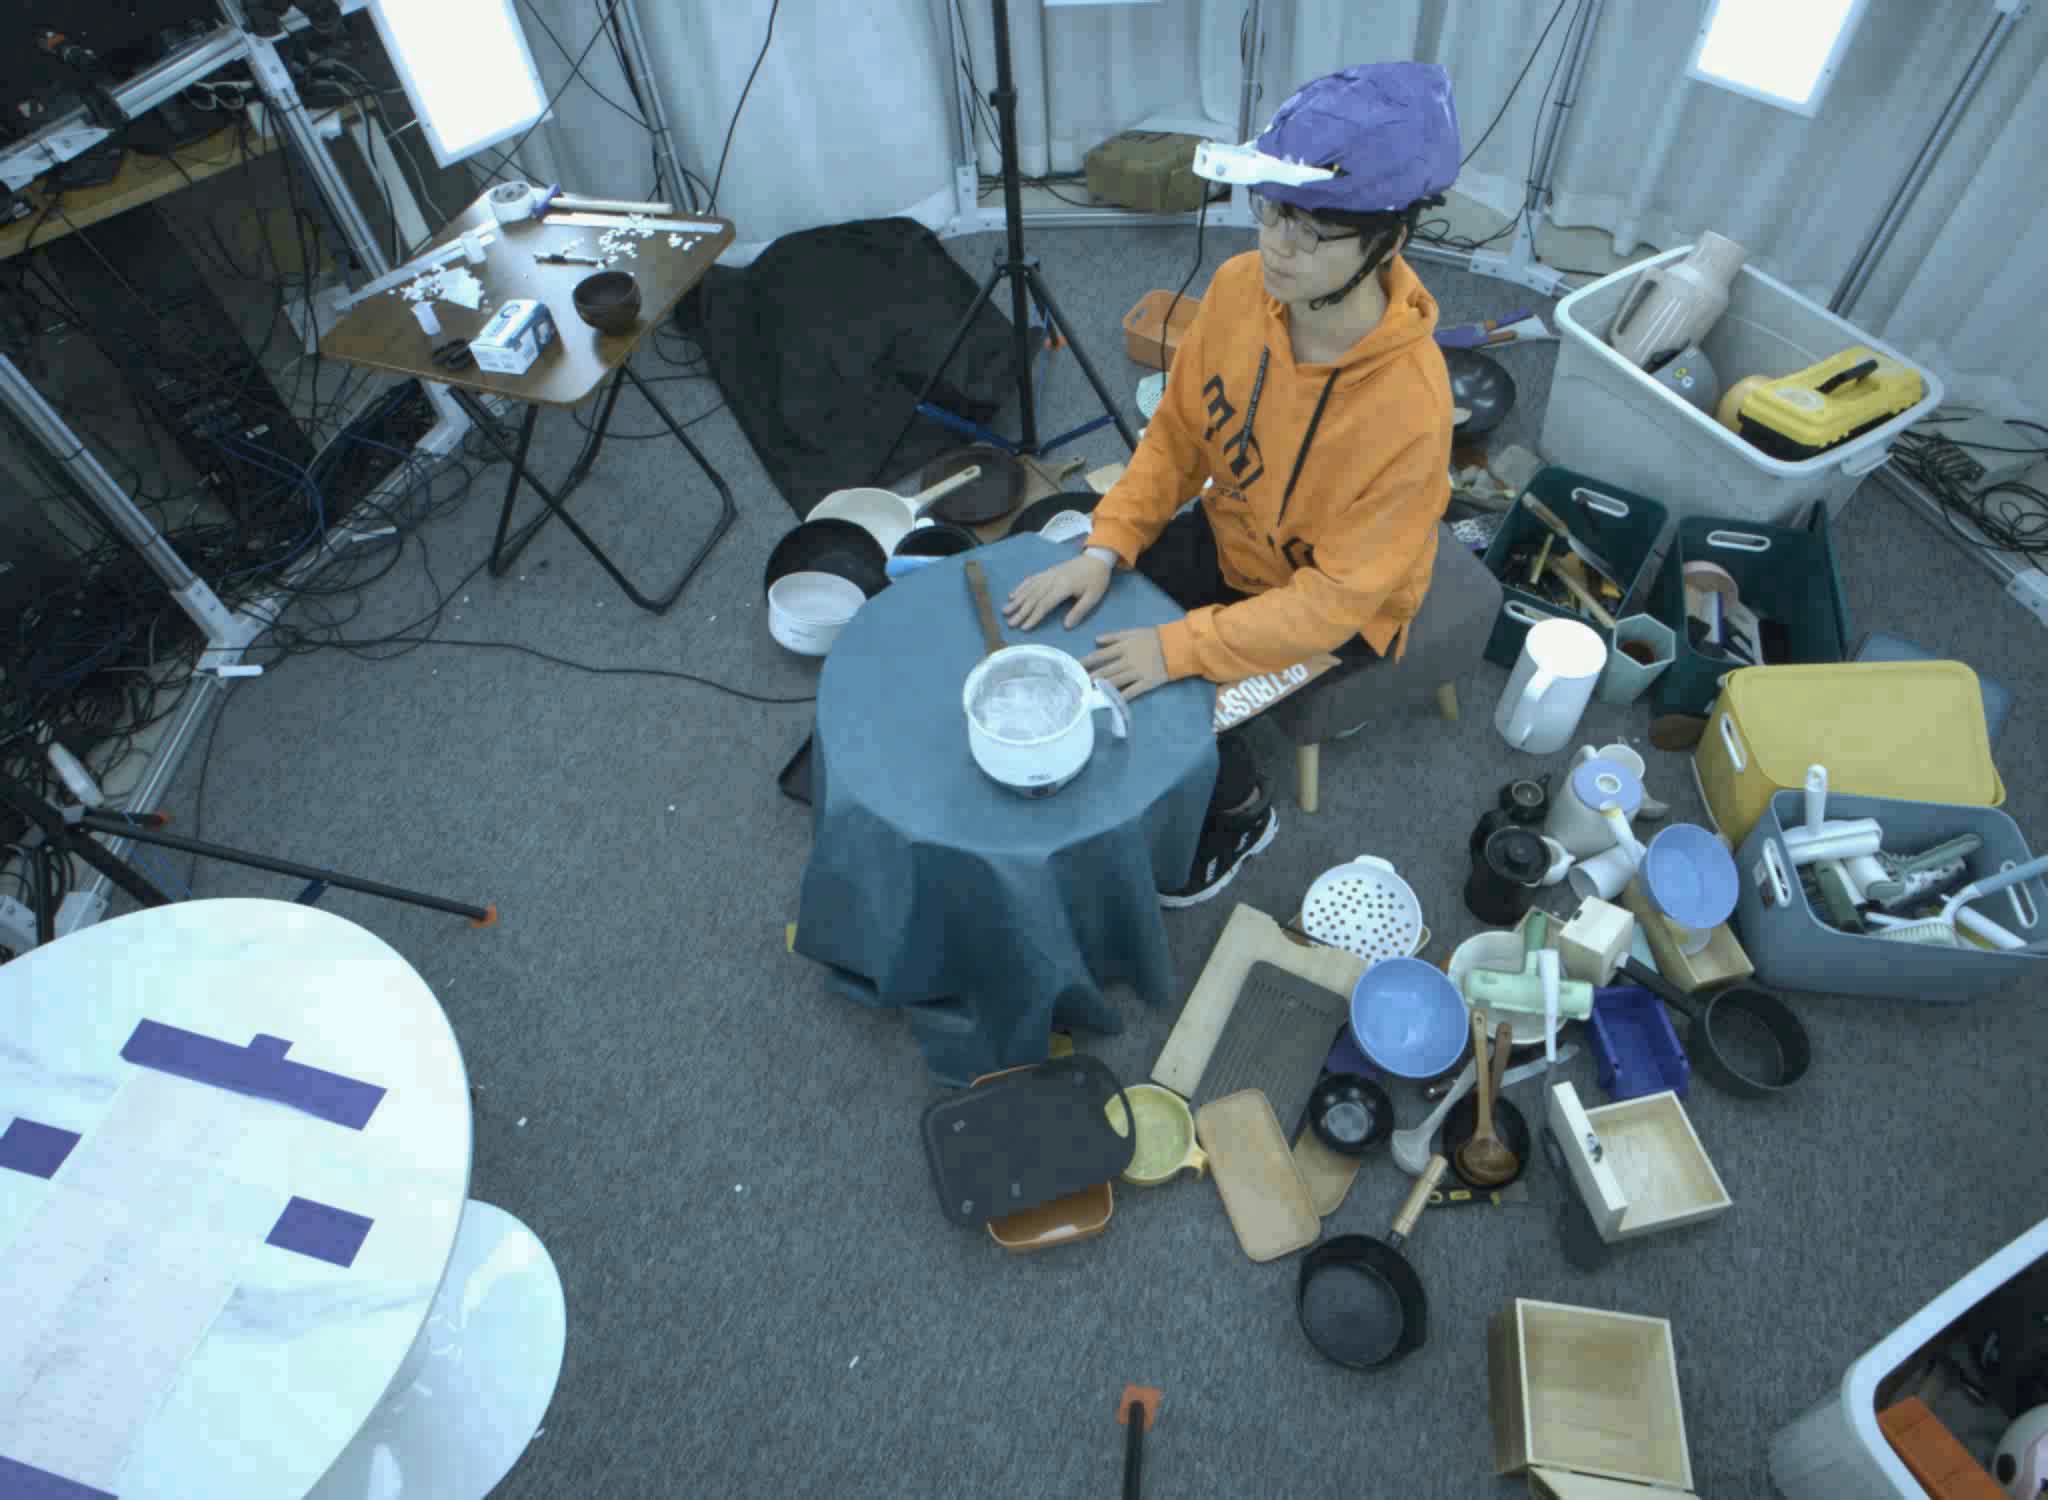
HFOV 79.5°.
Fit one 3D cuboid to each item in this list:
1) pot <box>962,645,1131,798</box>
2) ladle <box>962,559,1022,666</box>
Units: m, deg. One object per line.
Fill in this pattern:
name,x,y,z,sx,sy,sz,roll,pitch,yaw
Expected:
pot,0.035,-0.045,1.733,0.234,0.138,0.176,-9,55,-4
ladle,-0.060,-0.223,1.904,0.076,0.072,0.270,-11,56,-8
